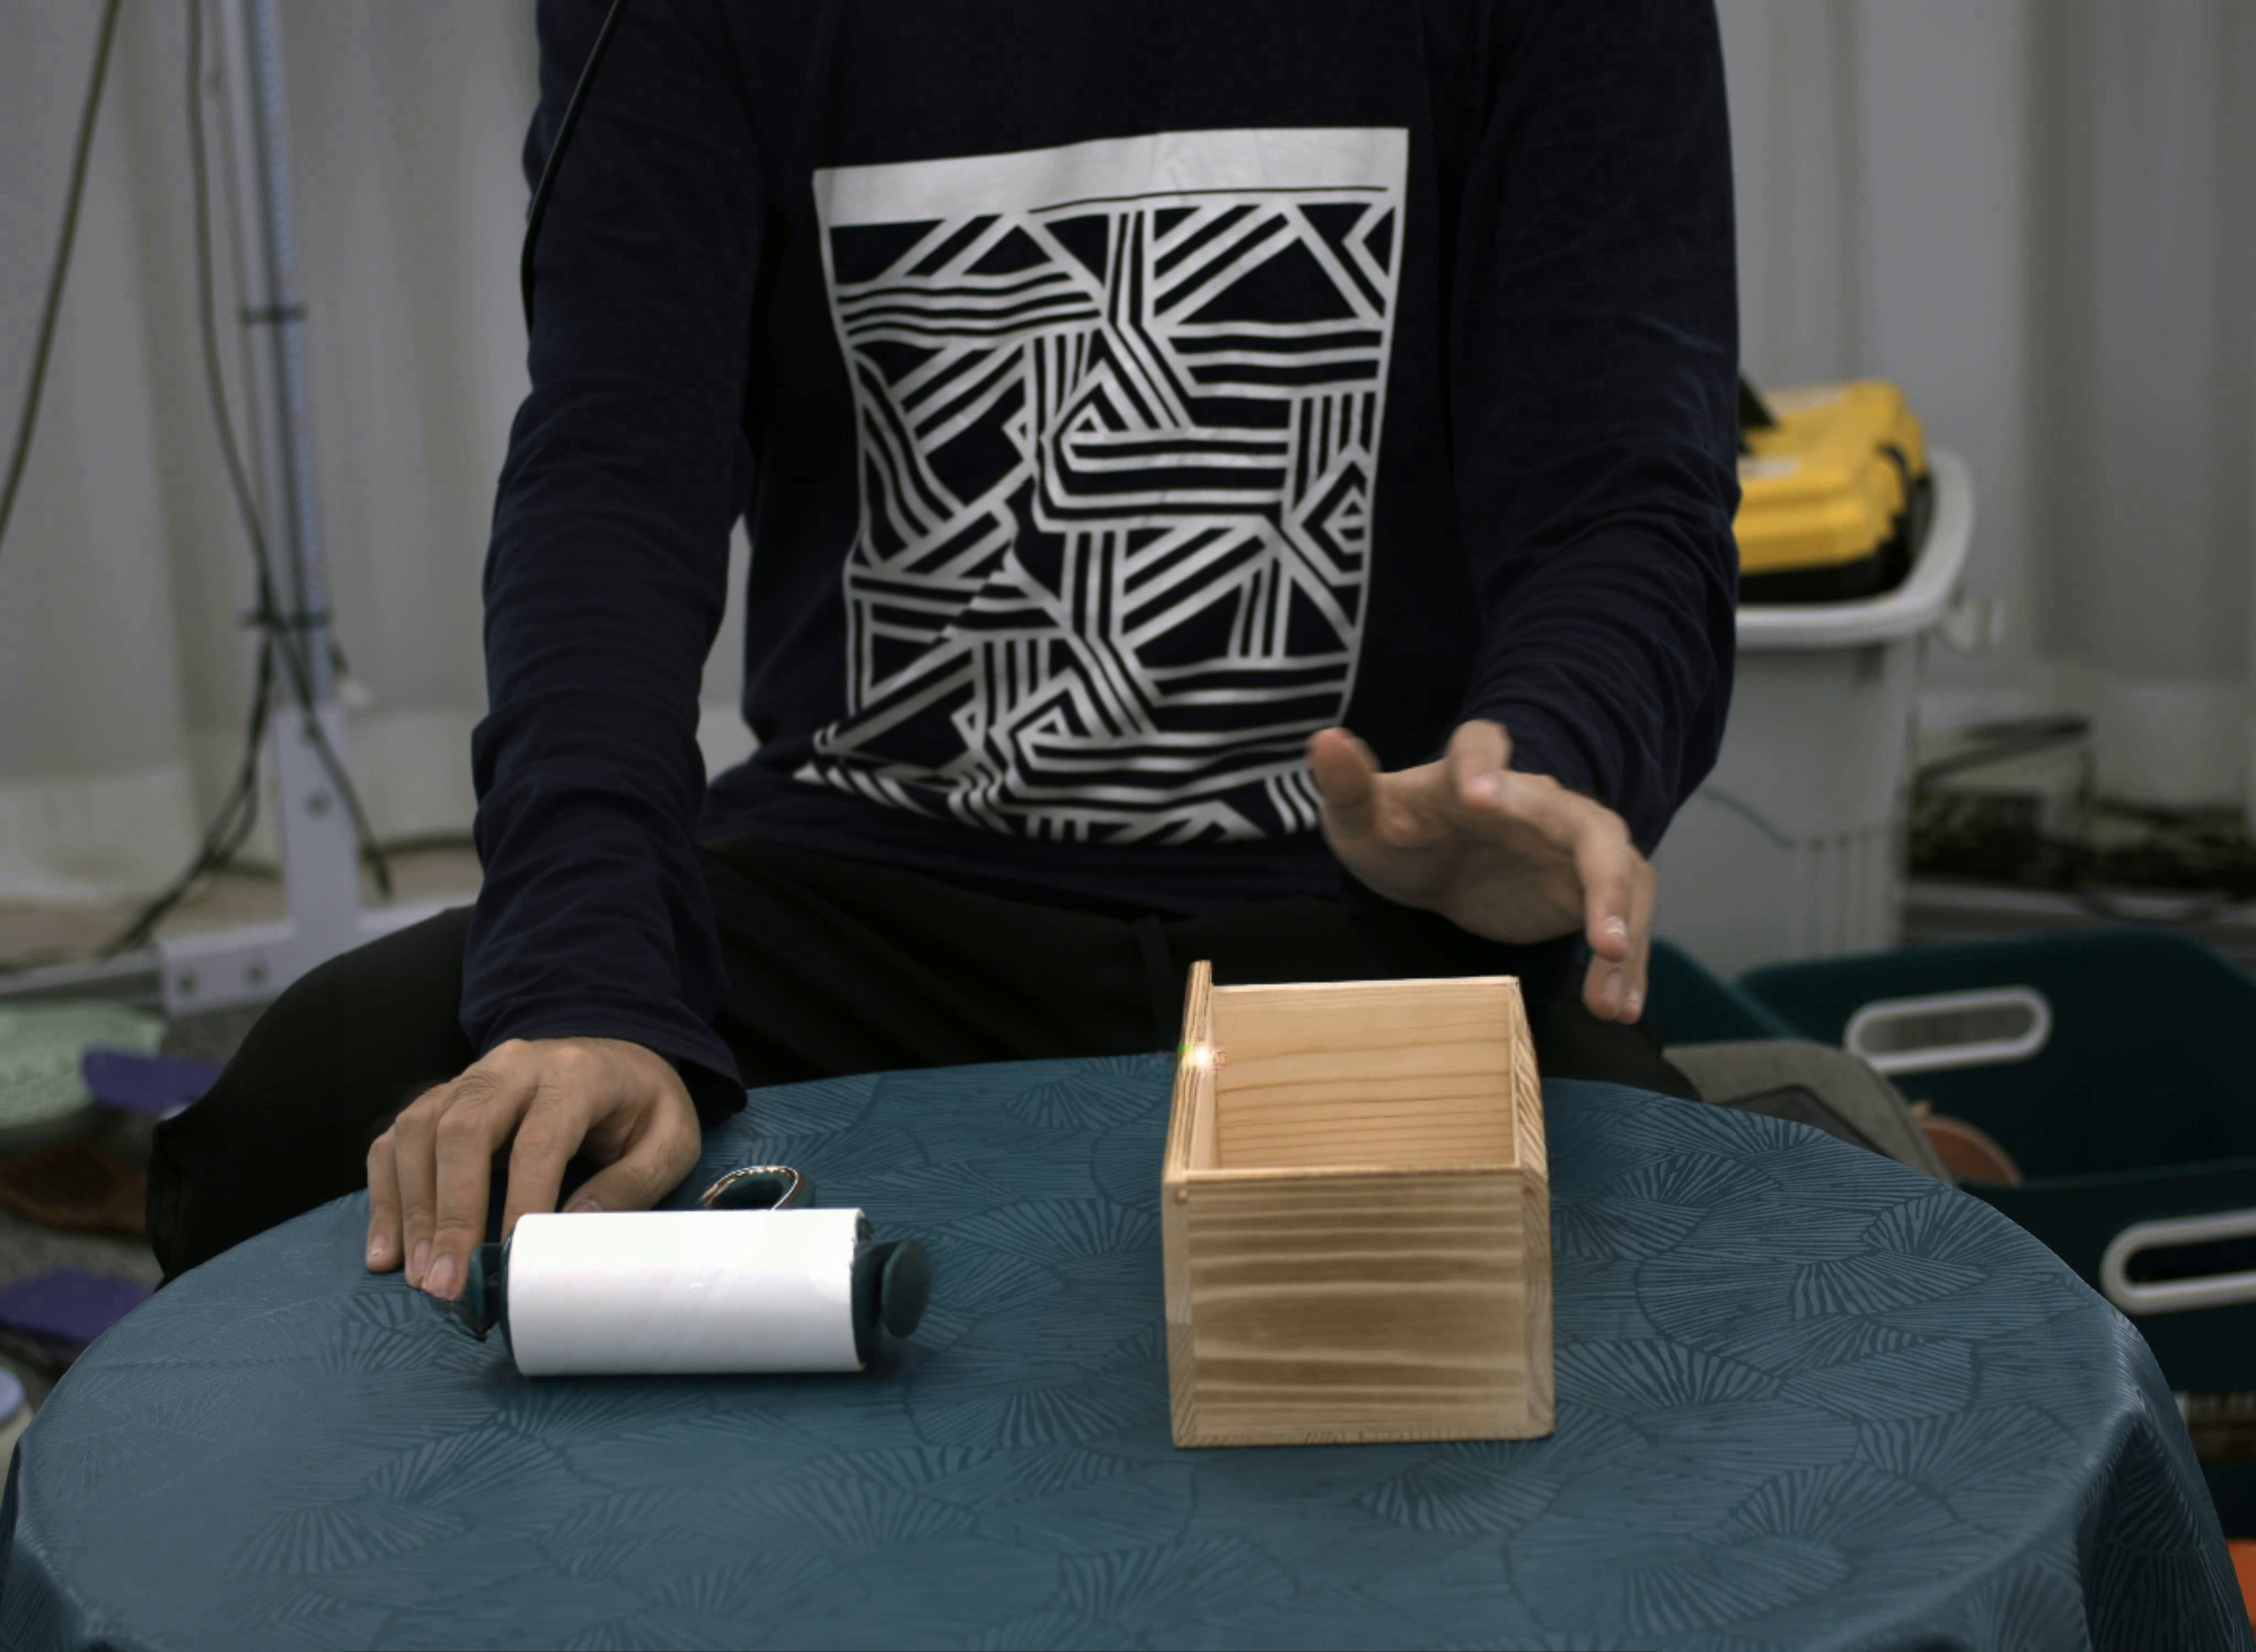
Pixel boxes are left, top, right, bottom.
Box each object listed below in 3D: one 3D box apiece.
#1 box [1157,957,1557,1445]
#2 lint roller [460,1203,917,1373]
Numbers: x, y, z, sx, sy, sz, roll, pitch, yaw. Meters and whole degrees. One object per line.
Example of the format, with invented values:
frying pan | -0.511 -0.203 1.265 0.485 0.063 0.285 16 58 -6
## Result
box | 0.067 0.105 1.587 0.107 0.080 0.212 -3 13 3
lint roller | -0.121 0.120 1.640 0.134 0.048 0.181 -1 12 4
